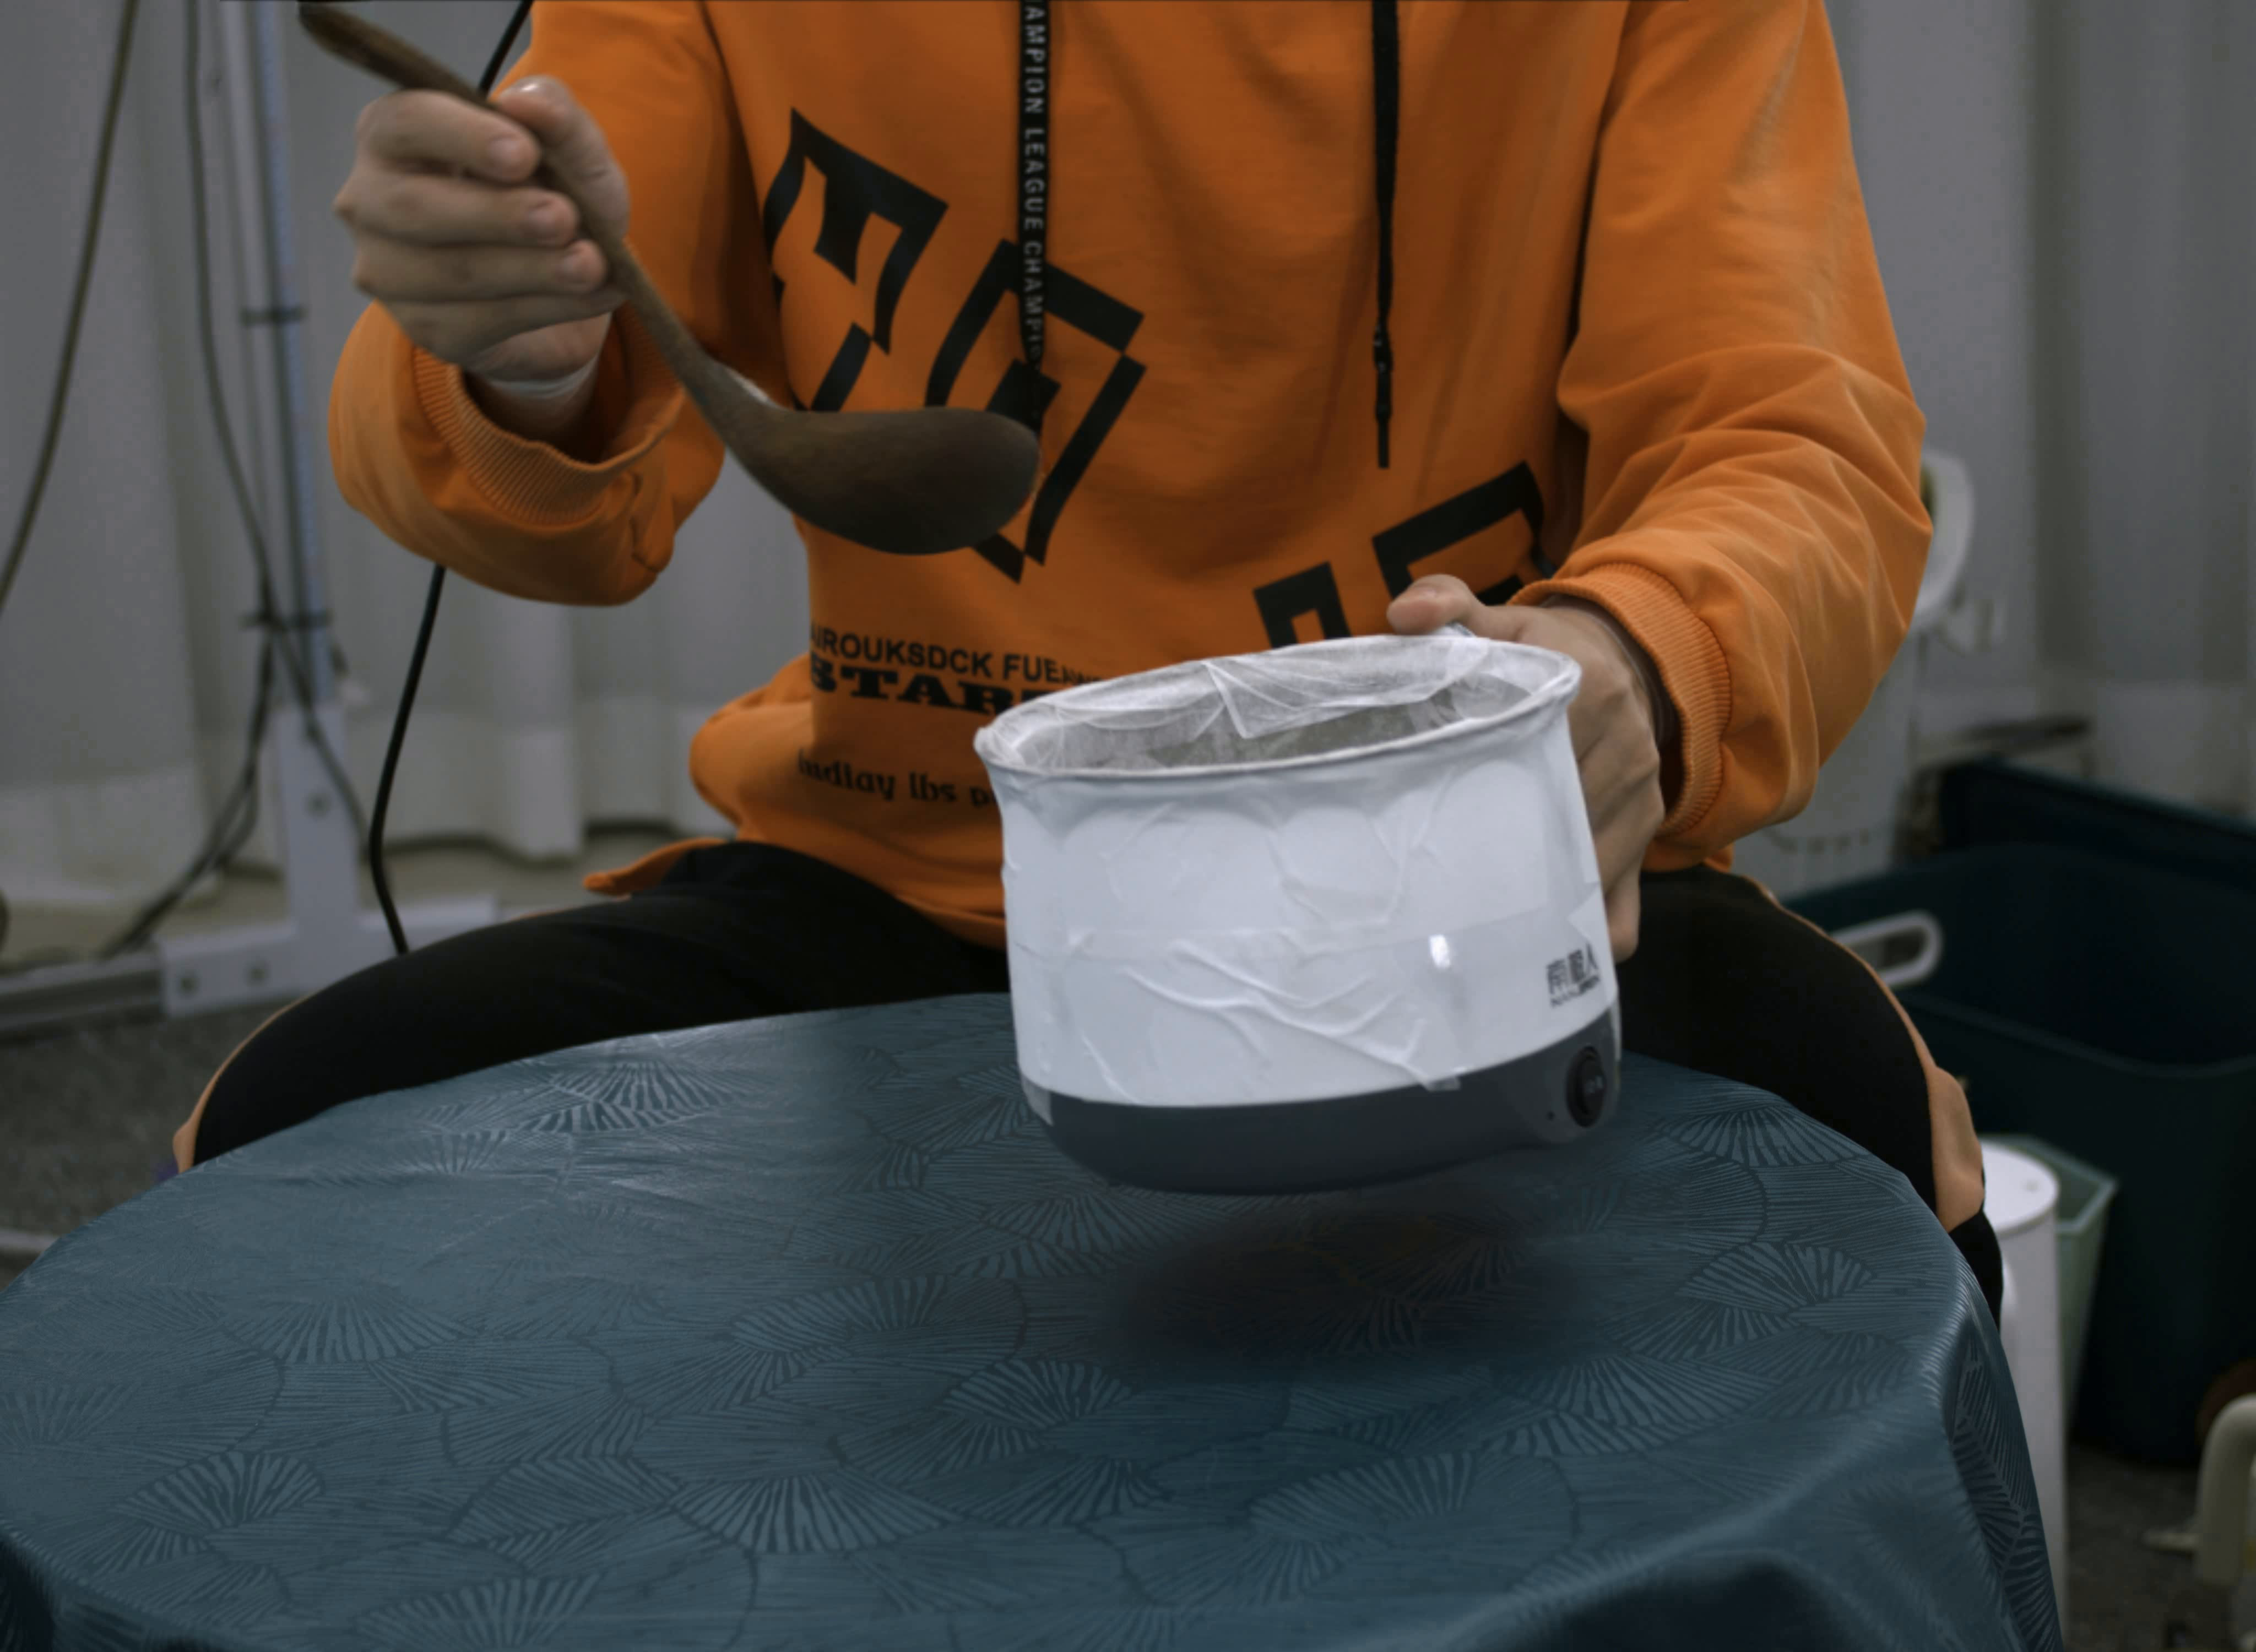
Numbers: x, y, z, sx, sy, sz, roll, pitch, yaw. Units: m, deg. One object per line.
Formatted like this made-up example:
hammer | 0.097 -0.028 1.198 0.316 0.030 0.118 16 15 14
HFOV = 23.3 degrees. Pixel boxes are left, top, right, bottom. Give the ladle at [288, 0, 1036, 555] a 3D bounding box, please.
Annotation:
ladle | -0.137 -0.175 1.607 0.071 0.075 0.276 -41 68 -9

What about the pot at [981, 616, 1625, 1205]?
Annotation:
pot | 0.066 0.020 1.615 0.179 0.136 0.234 0 13 31
